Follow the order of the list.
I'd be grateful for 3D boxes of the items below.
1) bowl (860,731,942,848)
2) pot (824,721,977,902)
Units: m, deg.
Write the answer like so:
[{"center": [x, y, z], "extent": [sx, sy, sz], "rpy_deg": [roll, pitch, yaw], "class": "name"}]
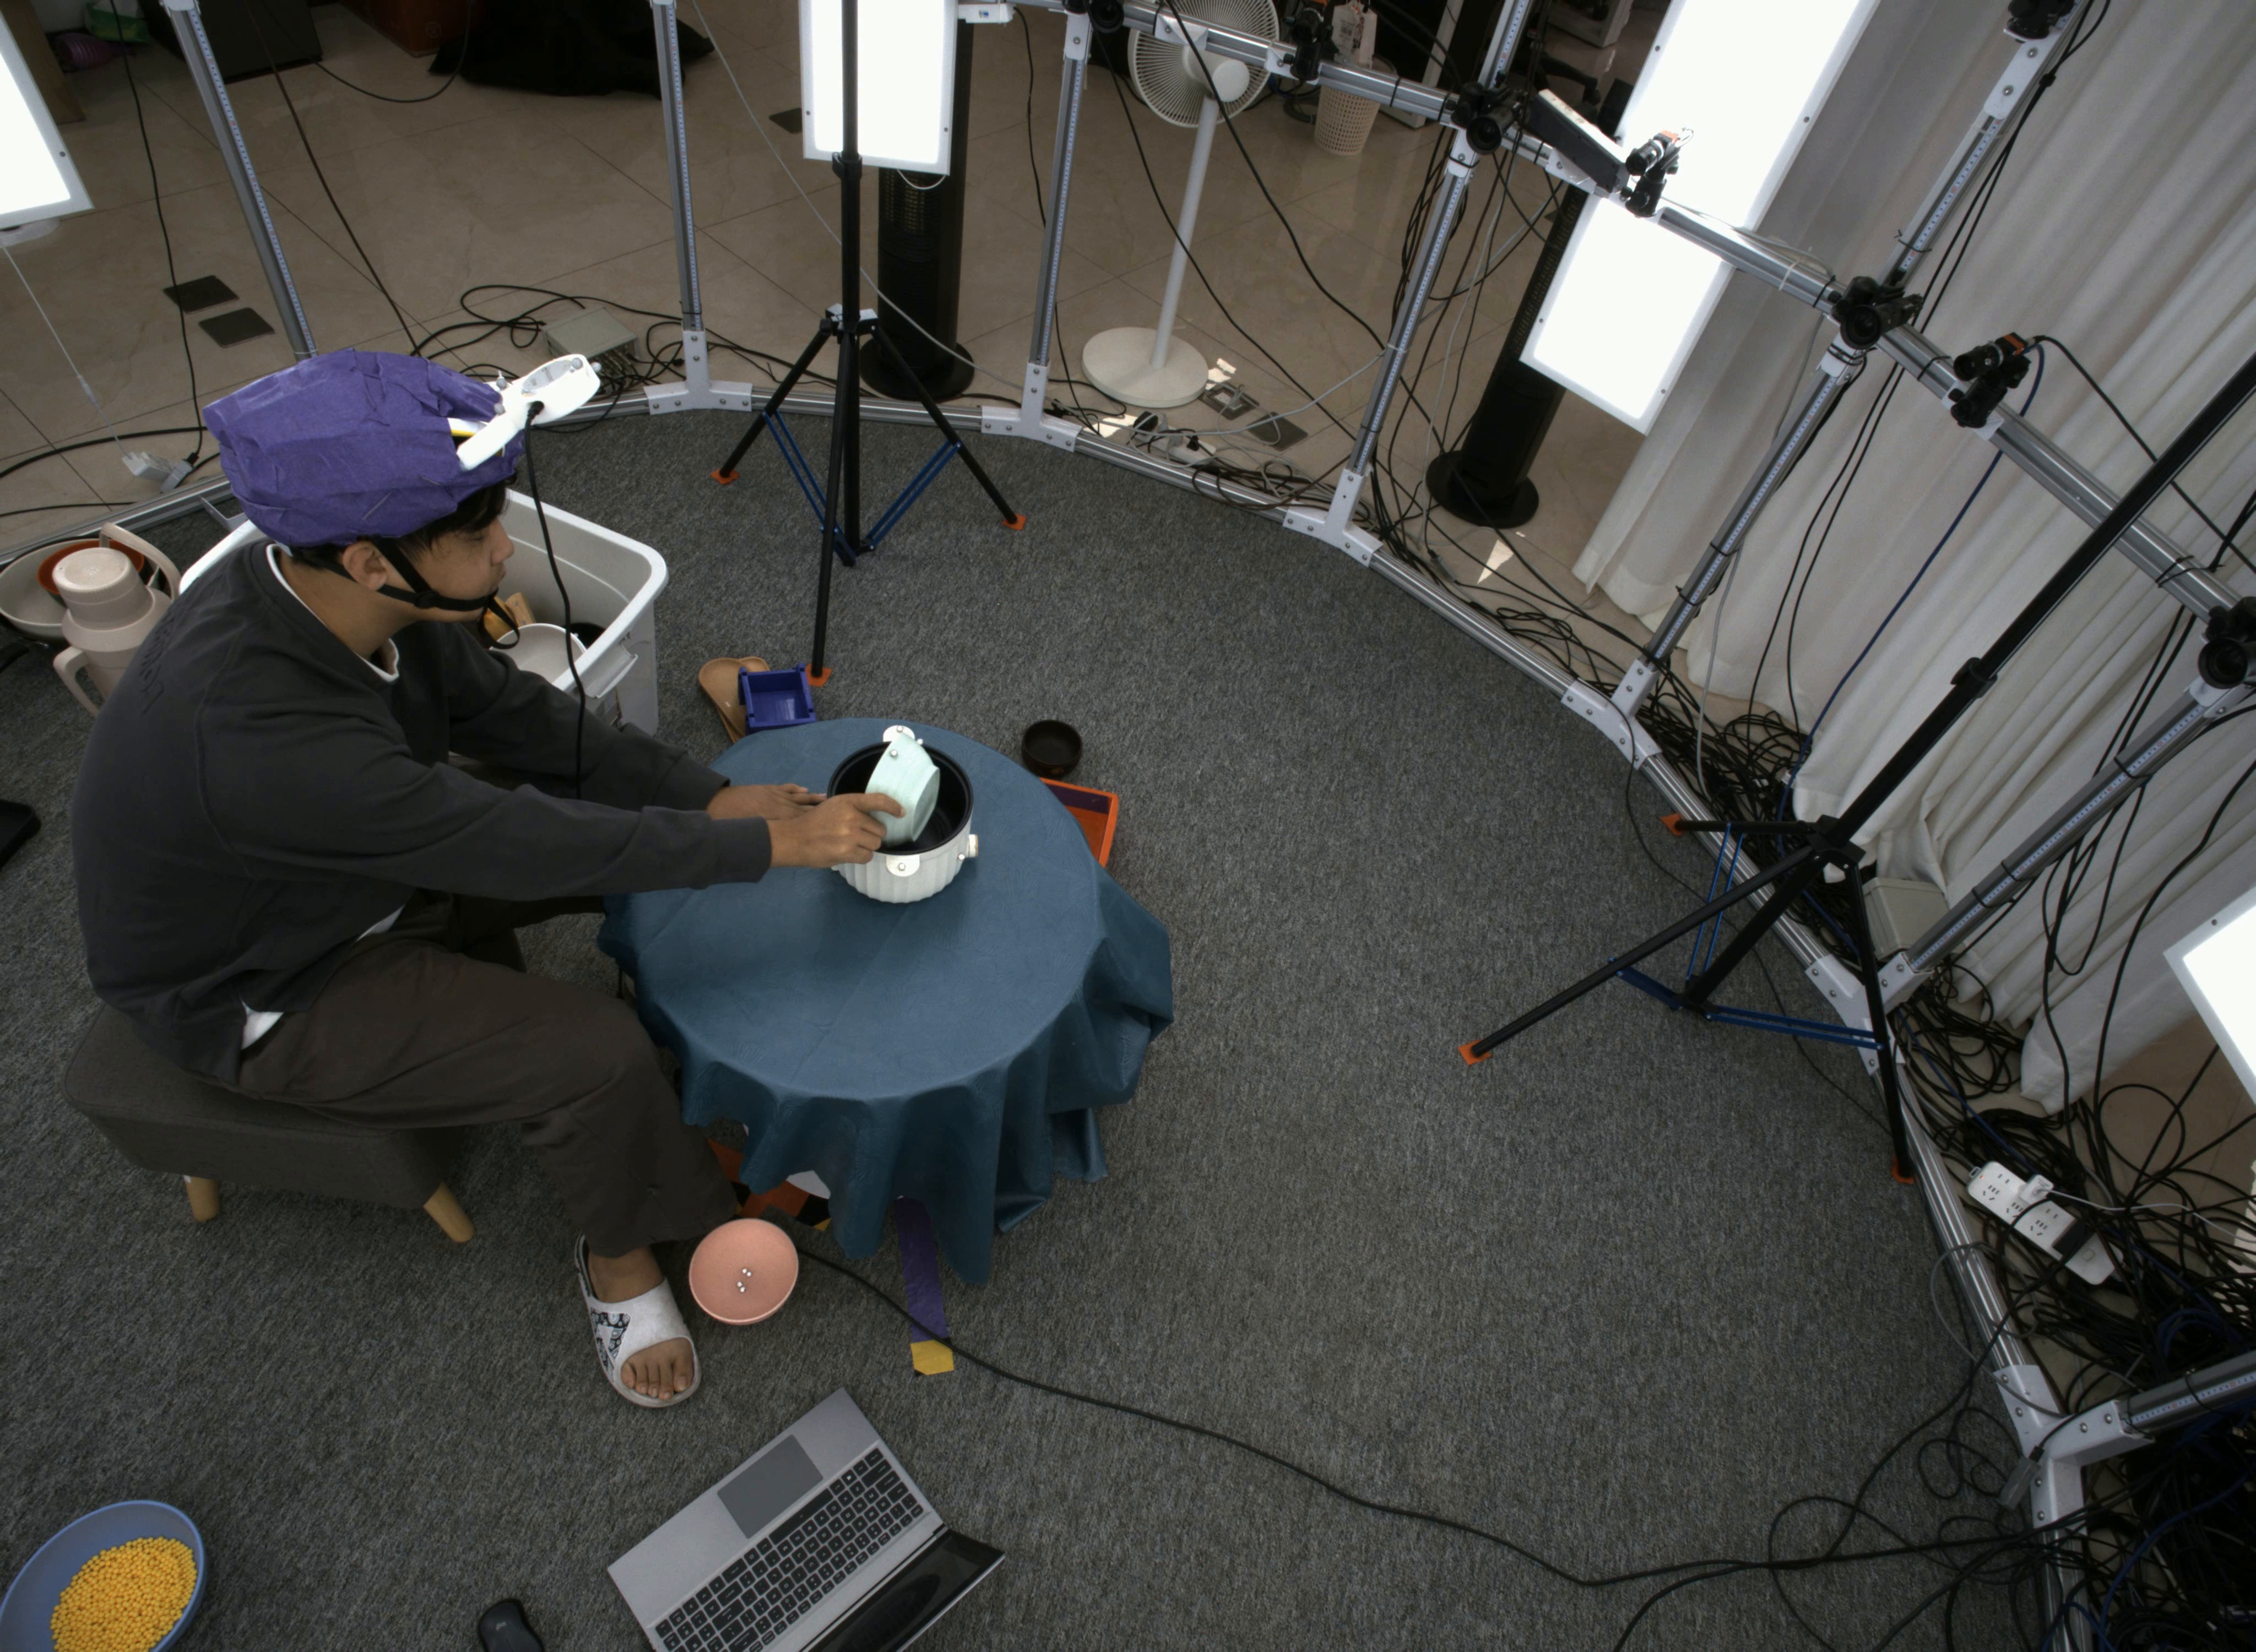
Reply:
[{"center": [-0.272, -0.035, 1.594], "extent": [0.058, 0.155, 0.150], "rpy_deg": [19, 51, 6], "class": "bowl"}, {"center": [-0.289, -0.003, 1.665], "extent": [0.190, 0.146, 0.235], "rpy_deg": [-4, 56, -11], "class": "pot"}]
